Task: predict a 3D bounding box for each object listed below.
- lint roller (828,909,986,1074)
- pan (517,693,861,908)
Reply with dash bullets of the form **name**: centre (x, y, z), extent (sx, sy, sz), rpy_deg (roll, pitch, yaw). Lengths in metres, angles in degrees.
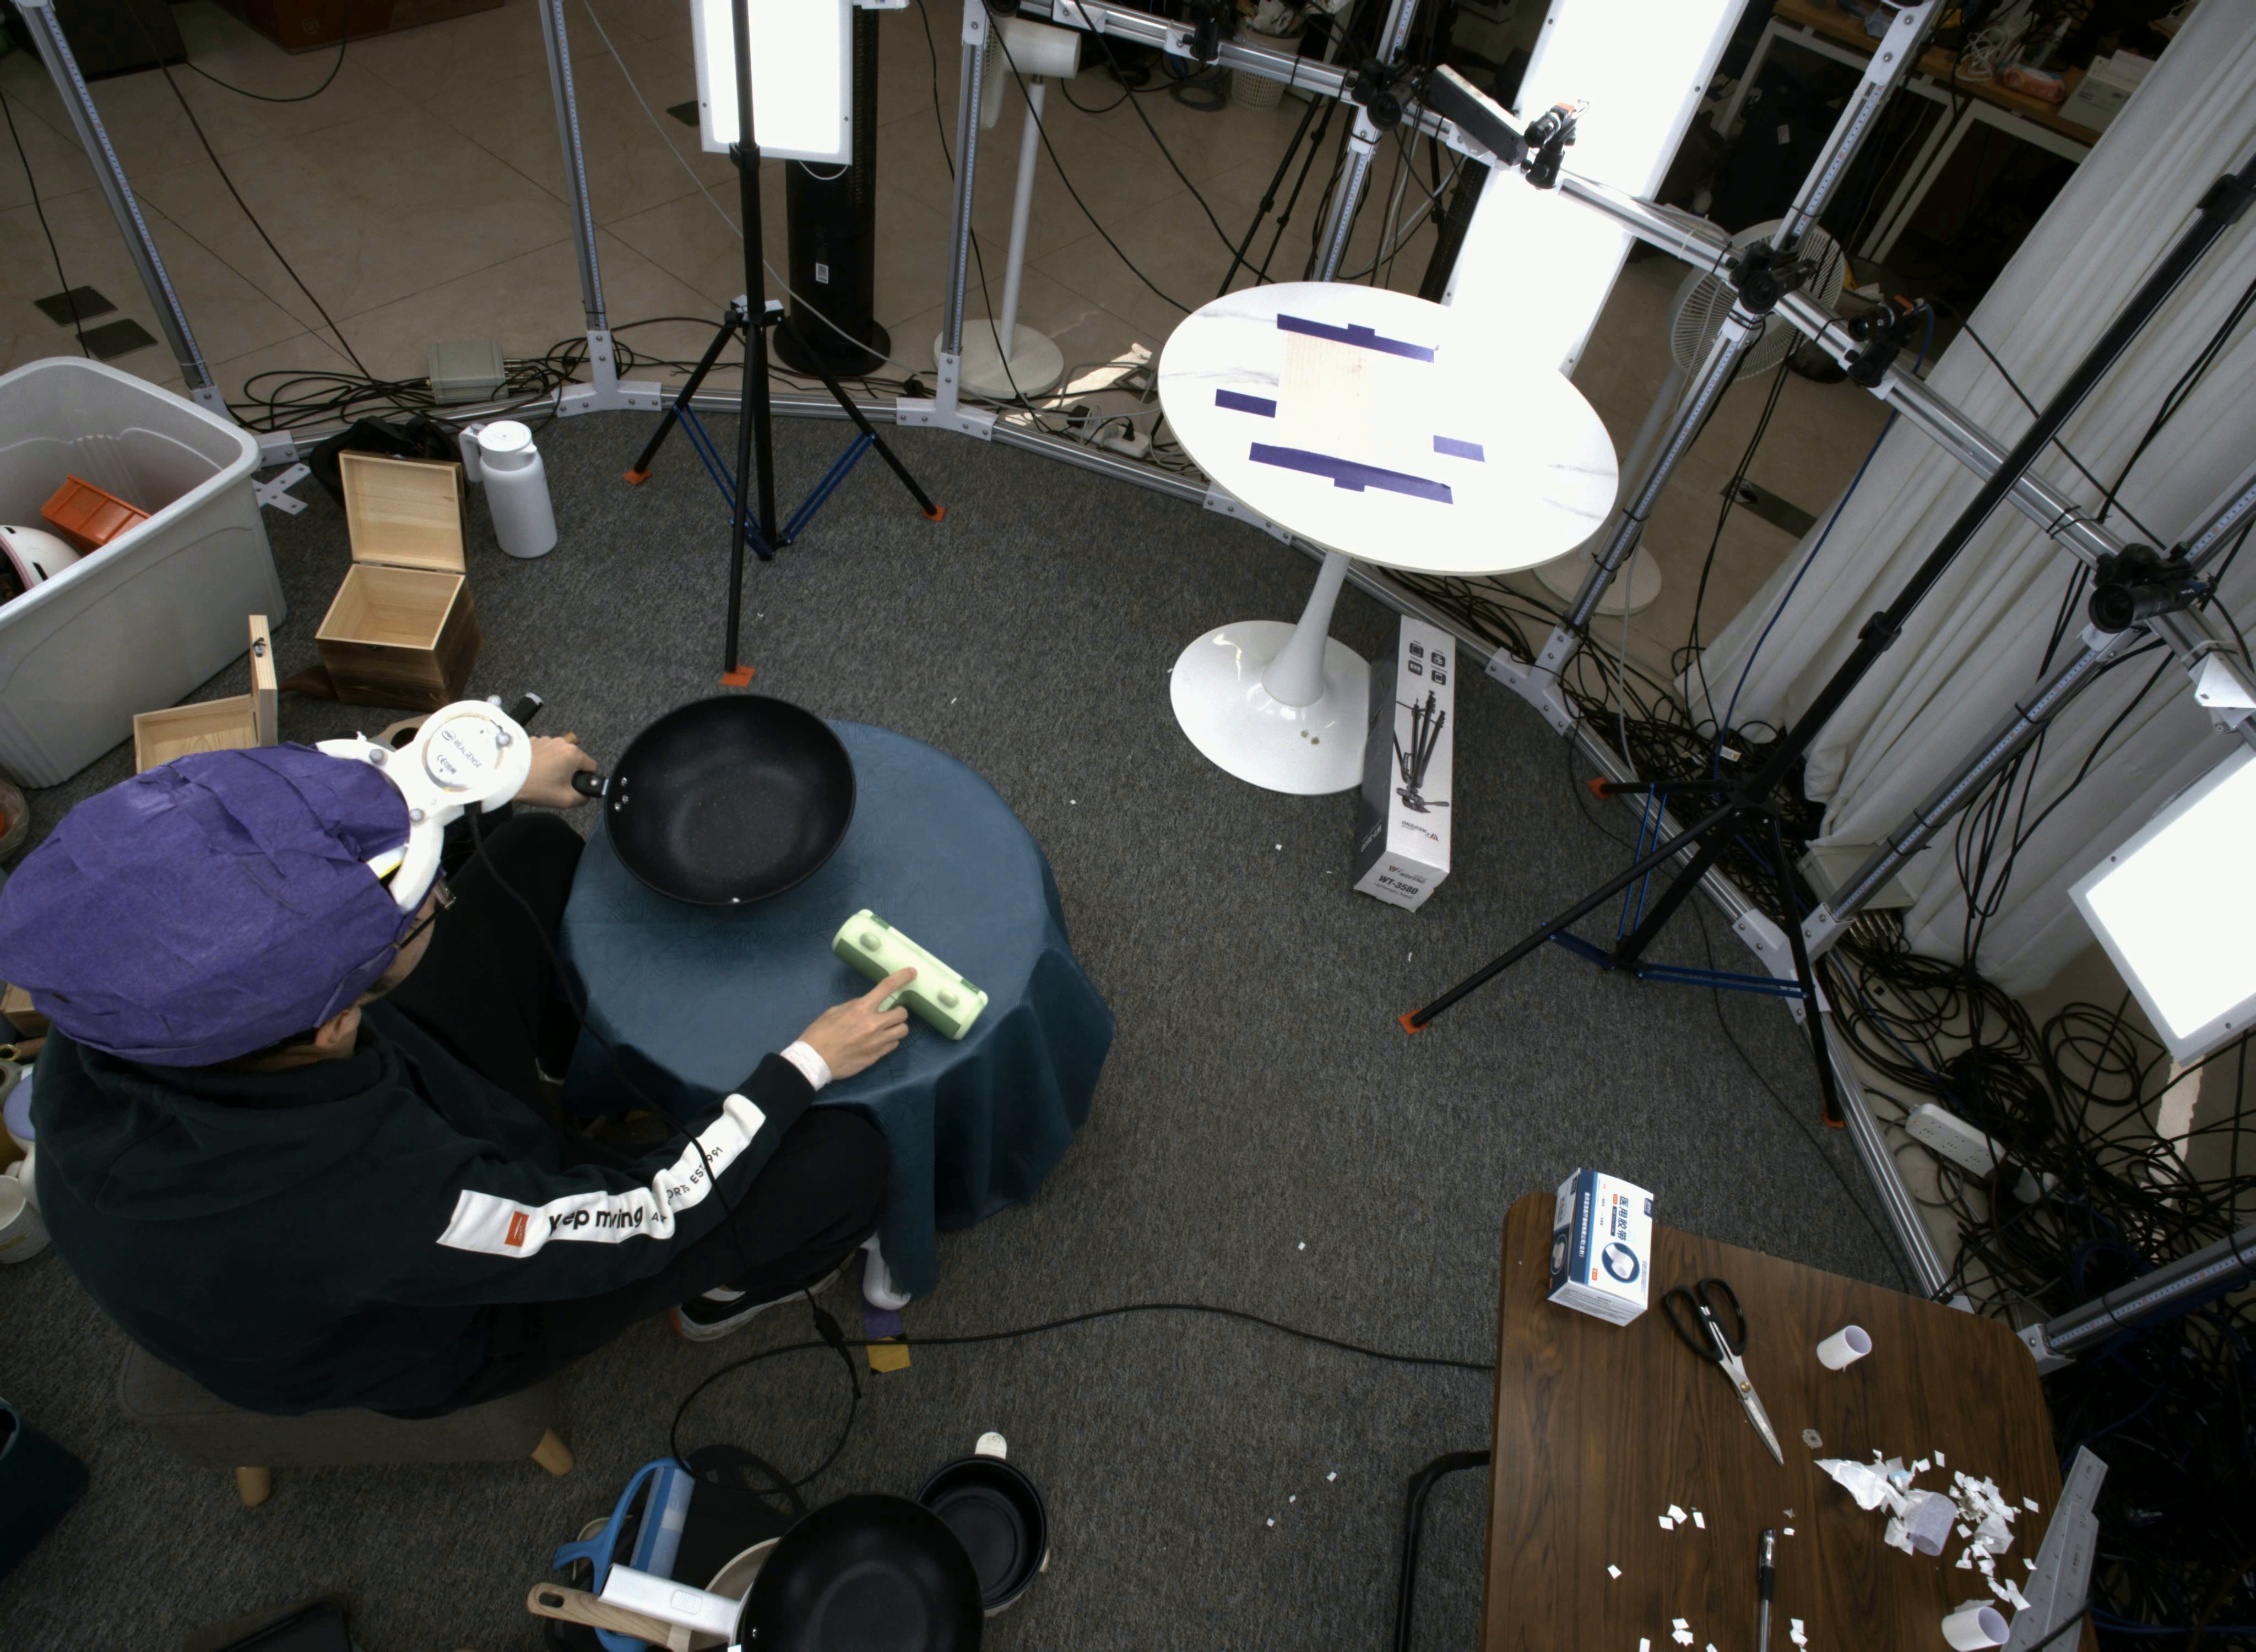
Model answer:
- **lint roller**: centre (-0.292, 0.210, 1.543), extent (0.198, 0.083, 0.182), rpy_deg (36, 51, 0)
- **pan**: centre (-0.573, -0.033, 1.624), extent (0.474, 0.114, 0.306), rpy_deg (5, 60, -6)
